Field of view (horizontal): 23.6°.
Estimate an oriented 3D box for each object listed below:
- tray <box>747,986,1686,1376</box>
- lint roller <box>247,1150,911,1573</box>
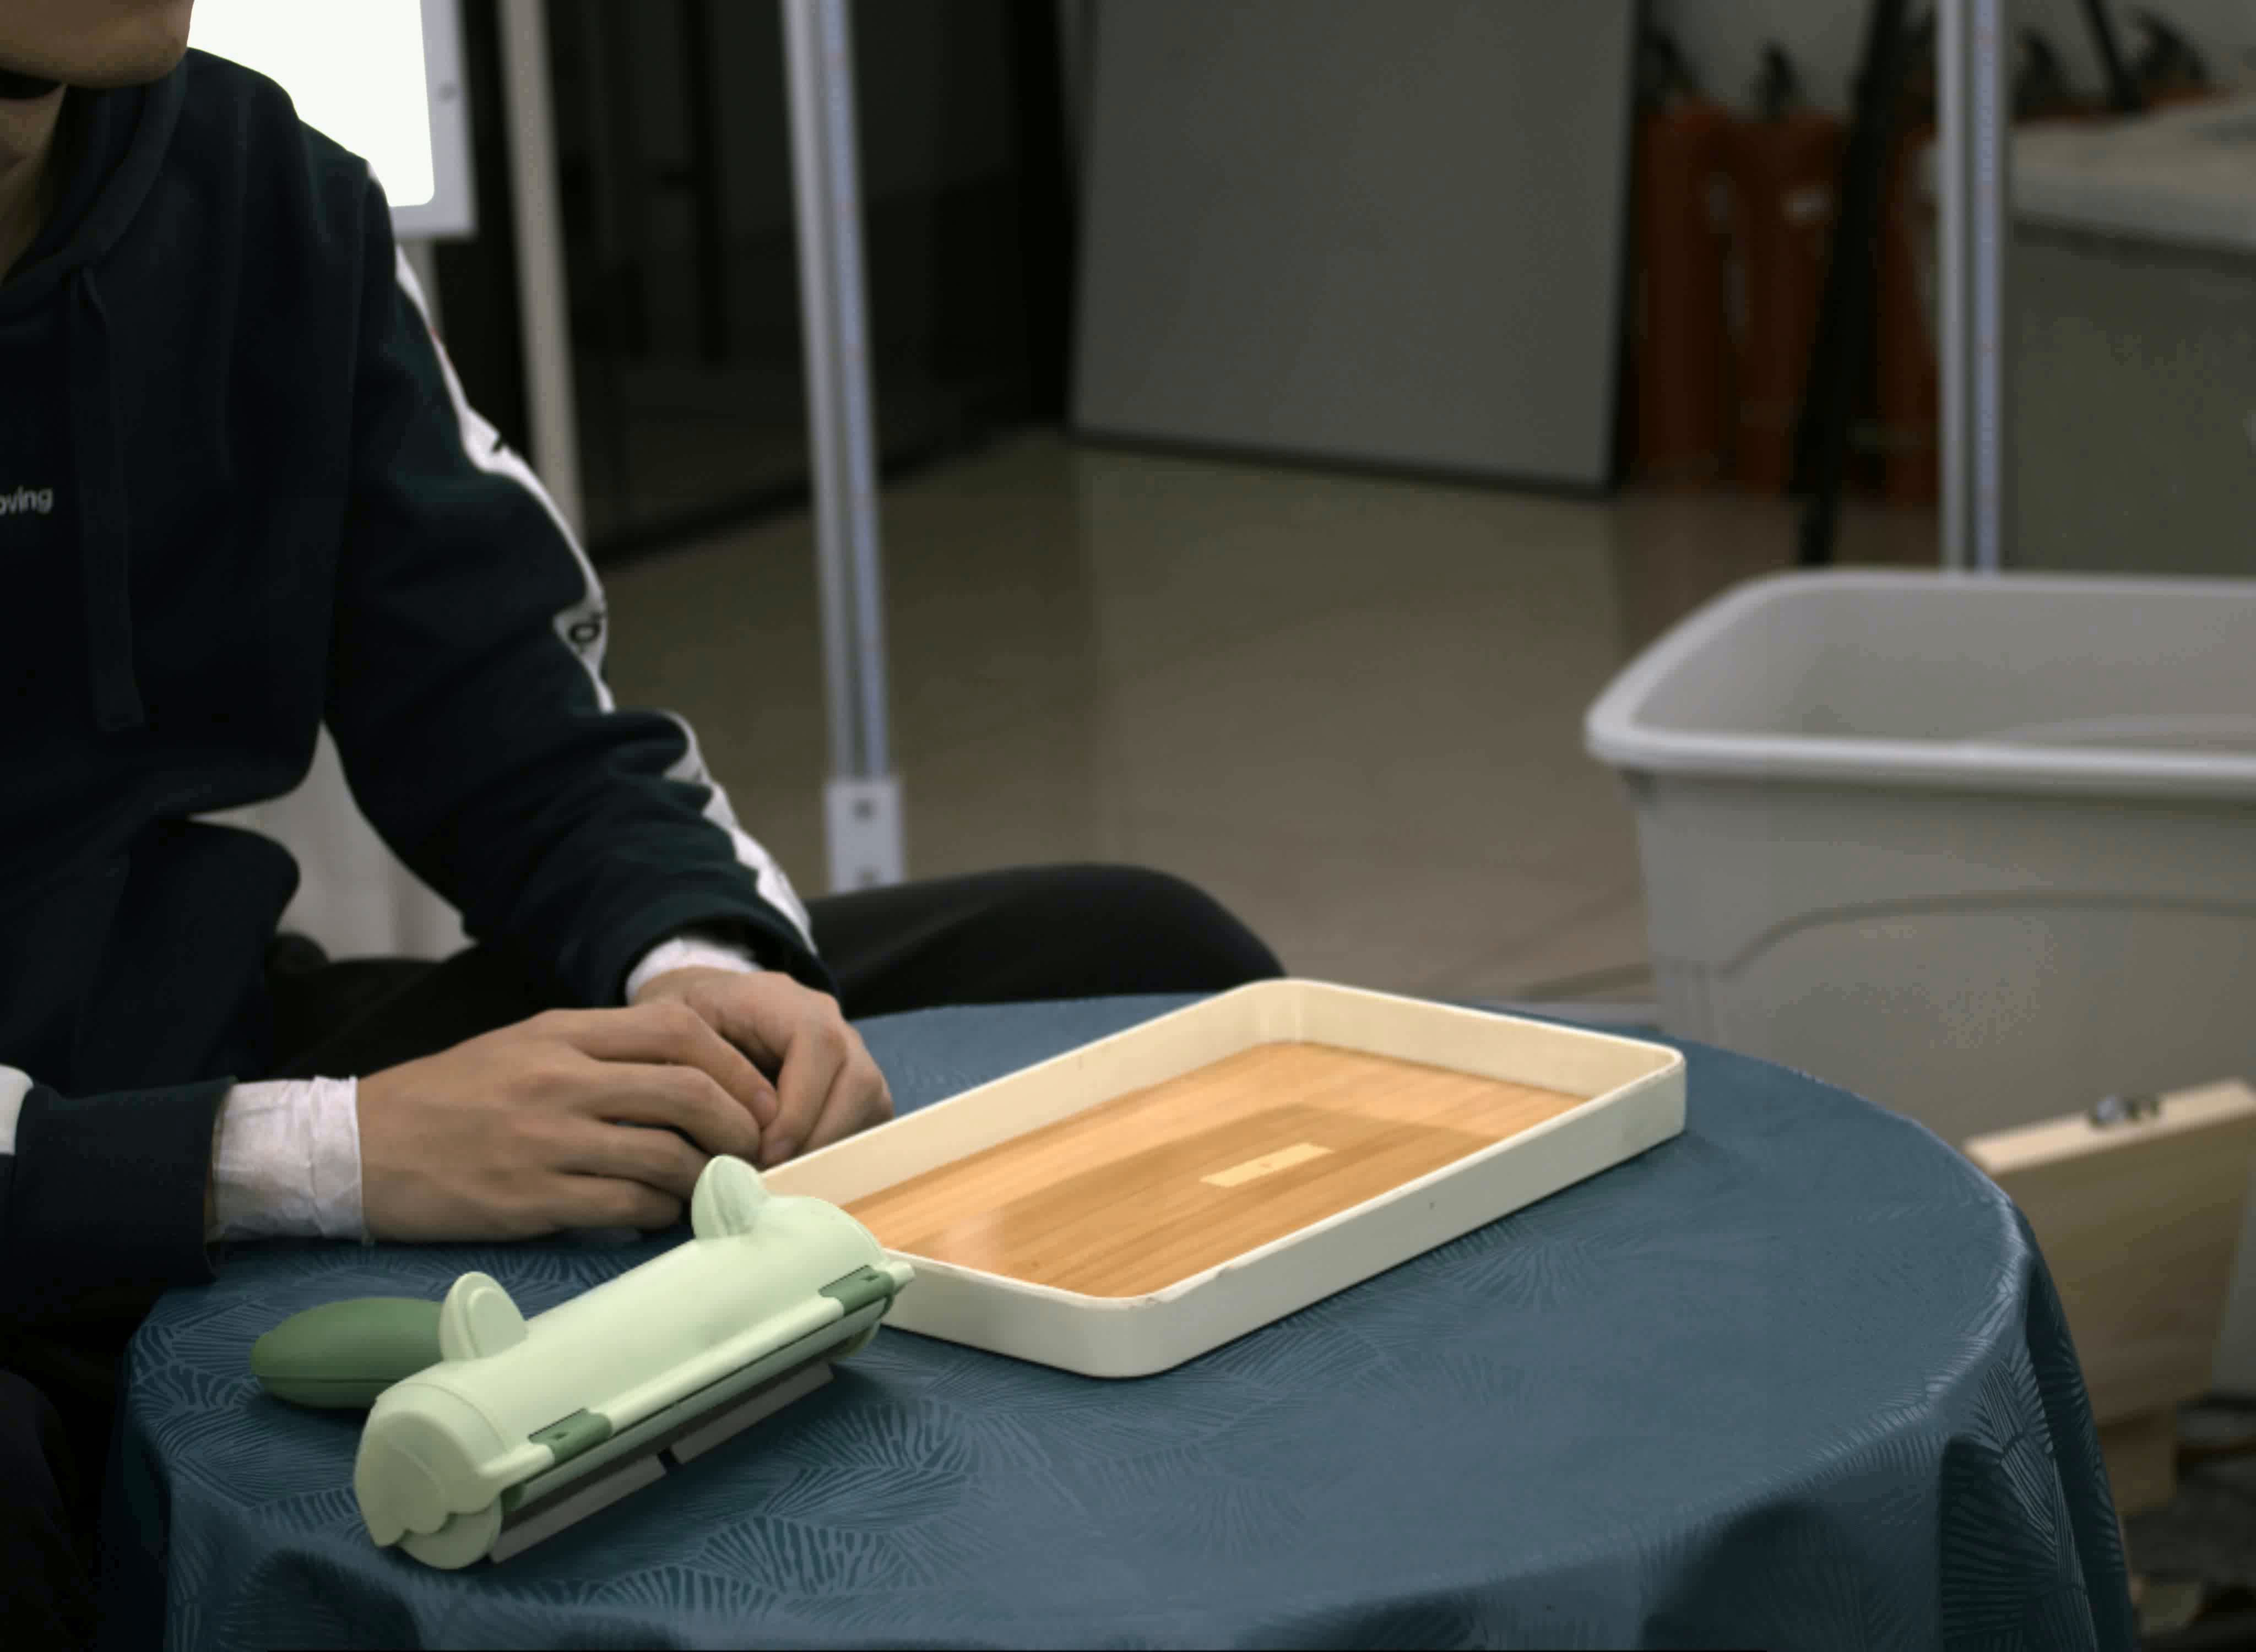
[{"bbox_3d":[0.027,0.111,1.751,0.193,0.028,0.294,8,18,42],"label":"tray"},{"bbox_3d":[-0.188,0.142,1.579,0.184,0.083,0.195,10,19,33],"label":"lint roller"}]
